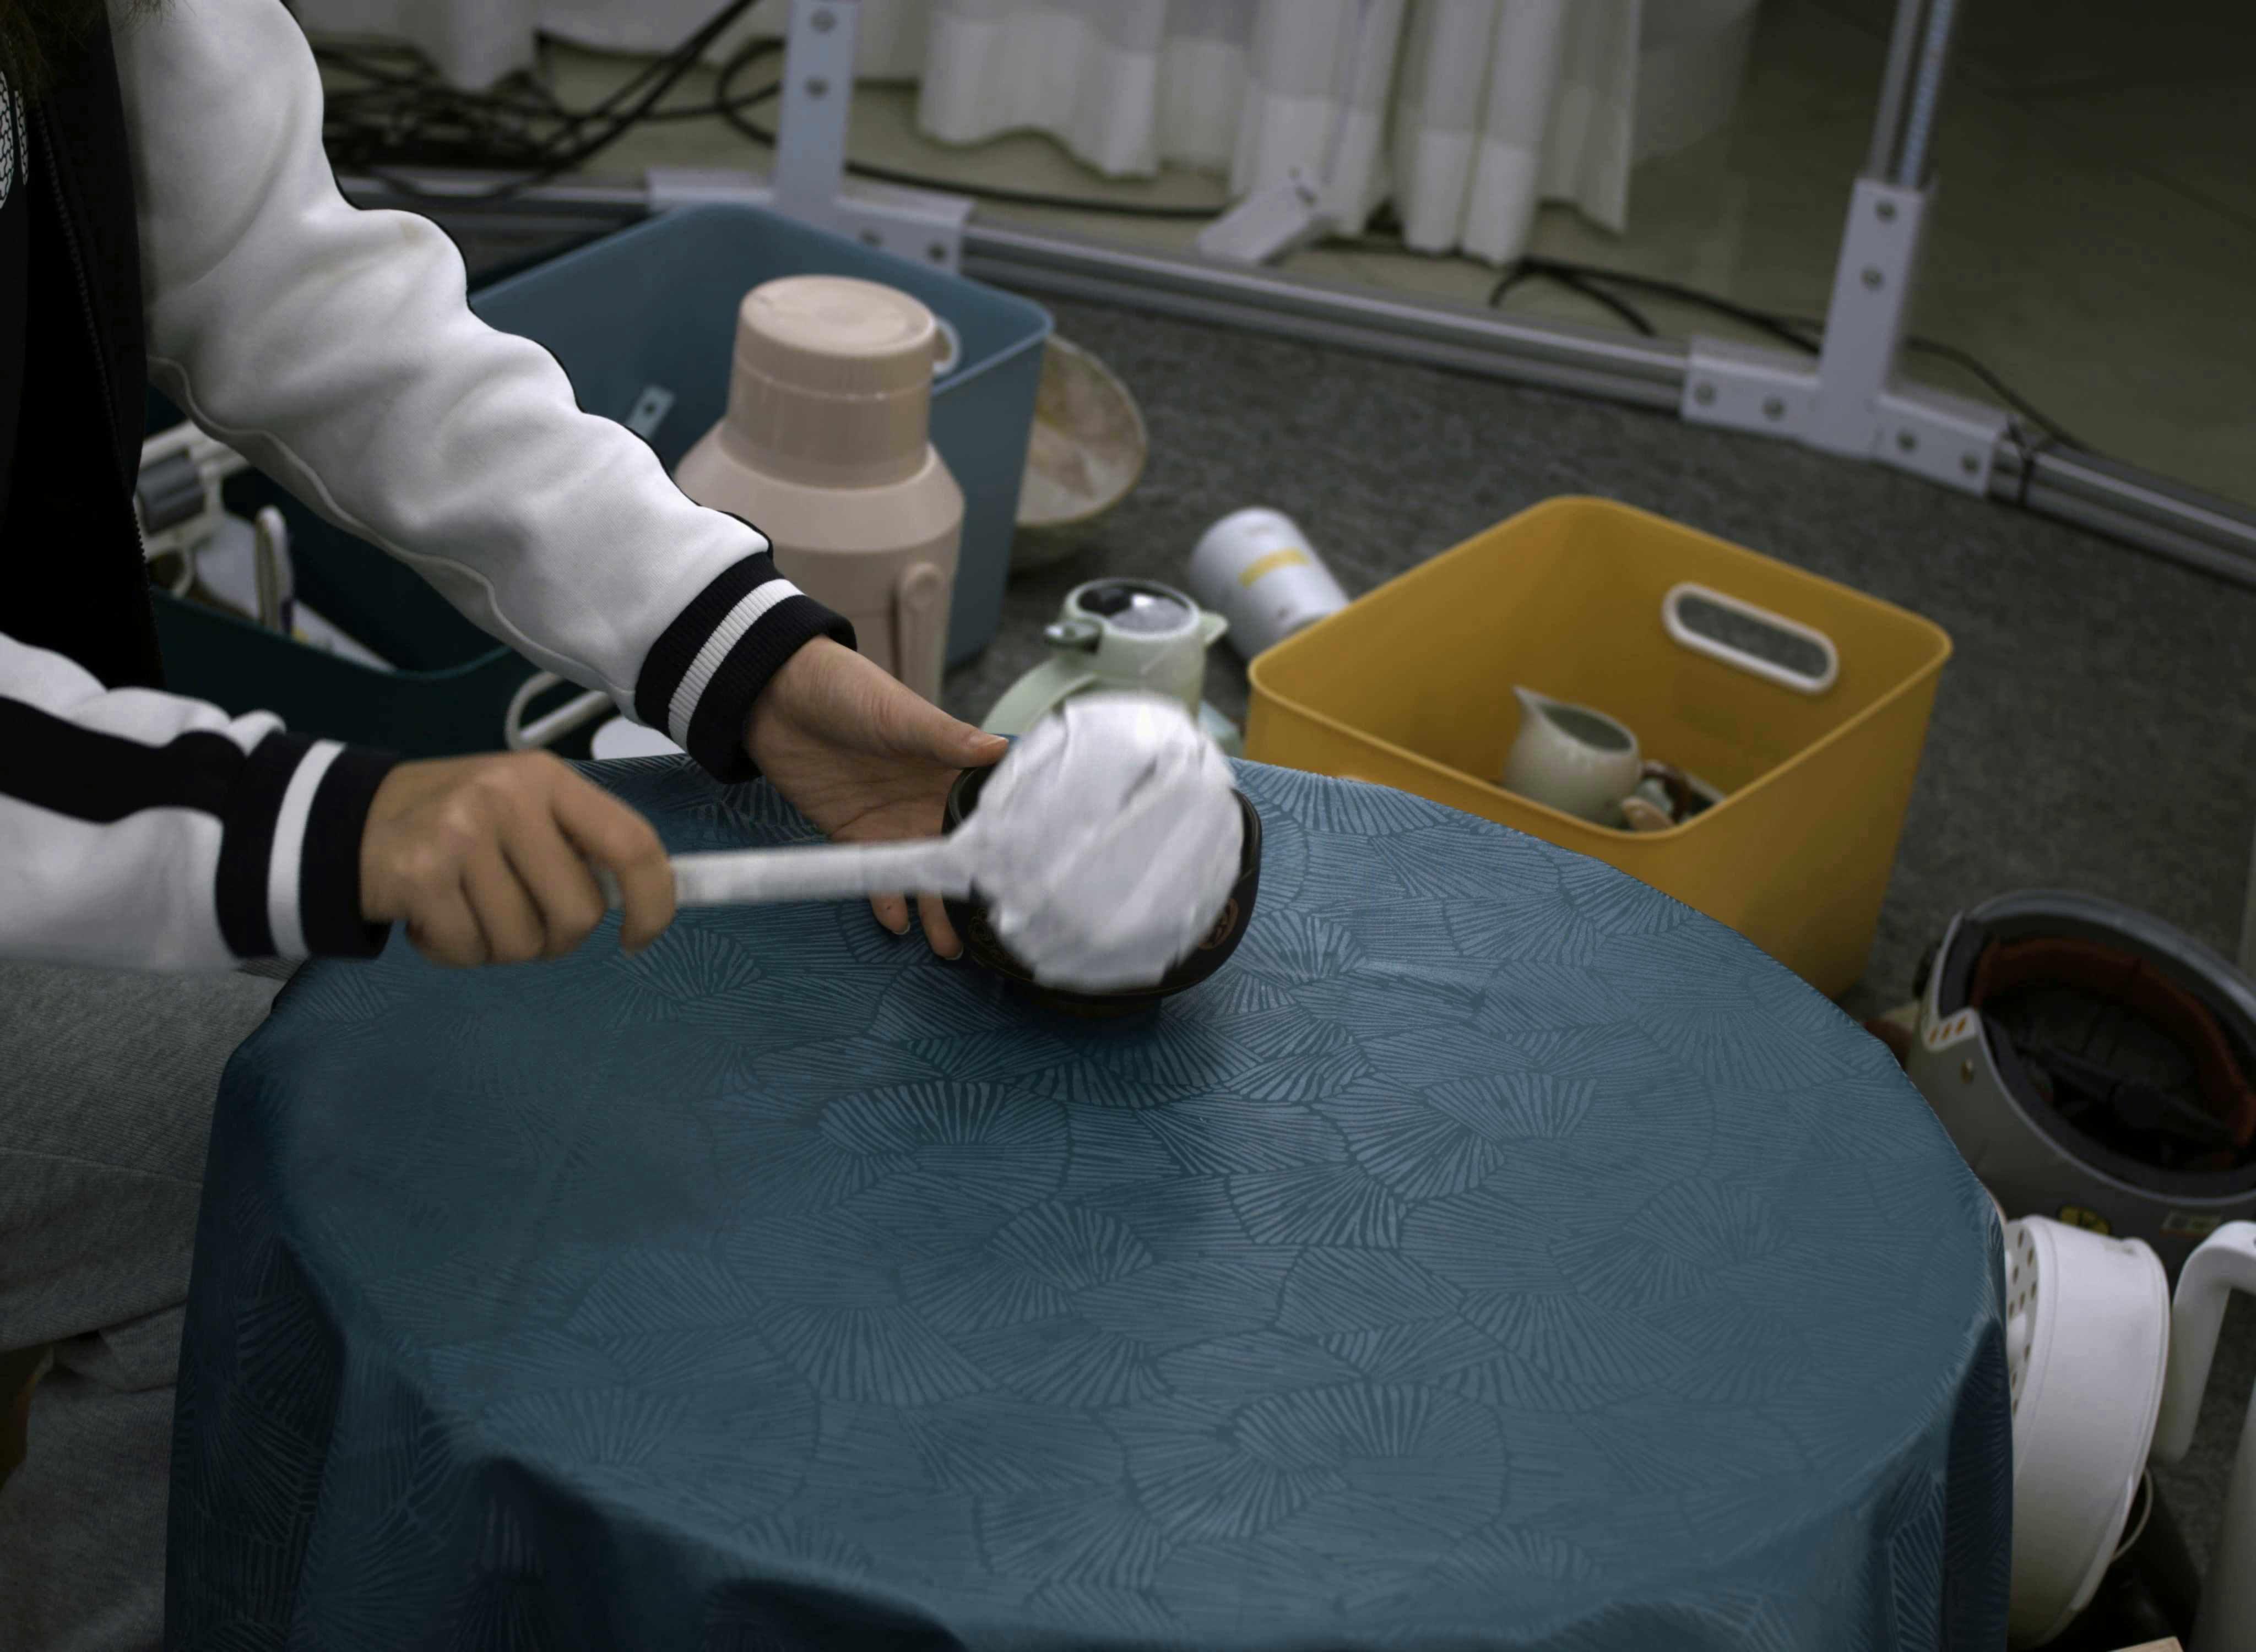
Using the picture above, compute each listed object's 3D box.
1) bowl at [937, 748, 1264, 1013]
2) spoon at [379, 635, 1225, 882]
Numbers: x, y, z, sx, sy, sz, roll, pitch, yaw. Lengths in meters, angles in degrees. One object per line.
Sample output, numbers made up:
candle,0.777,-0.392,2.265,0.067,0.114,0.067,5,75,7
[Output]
bowl,-0.012,0.024,1.915,0.117,0.069,0.119,5,26,-3
spoon,-0.107,-0.016,1.744,0.277,0.100,0.060,-2,42,12
